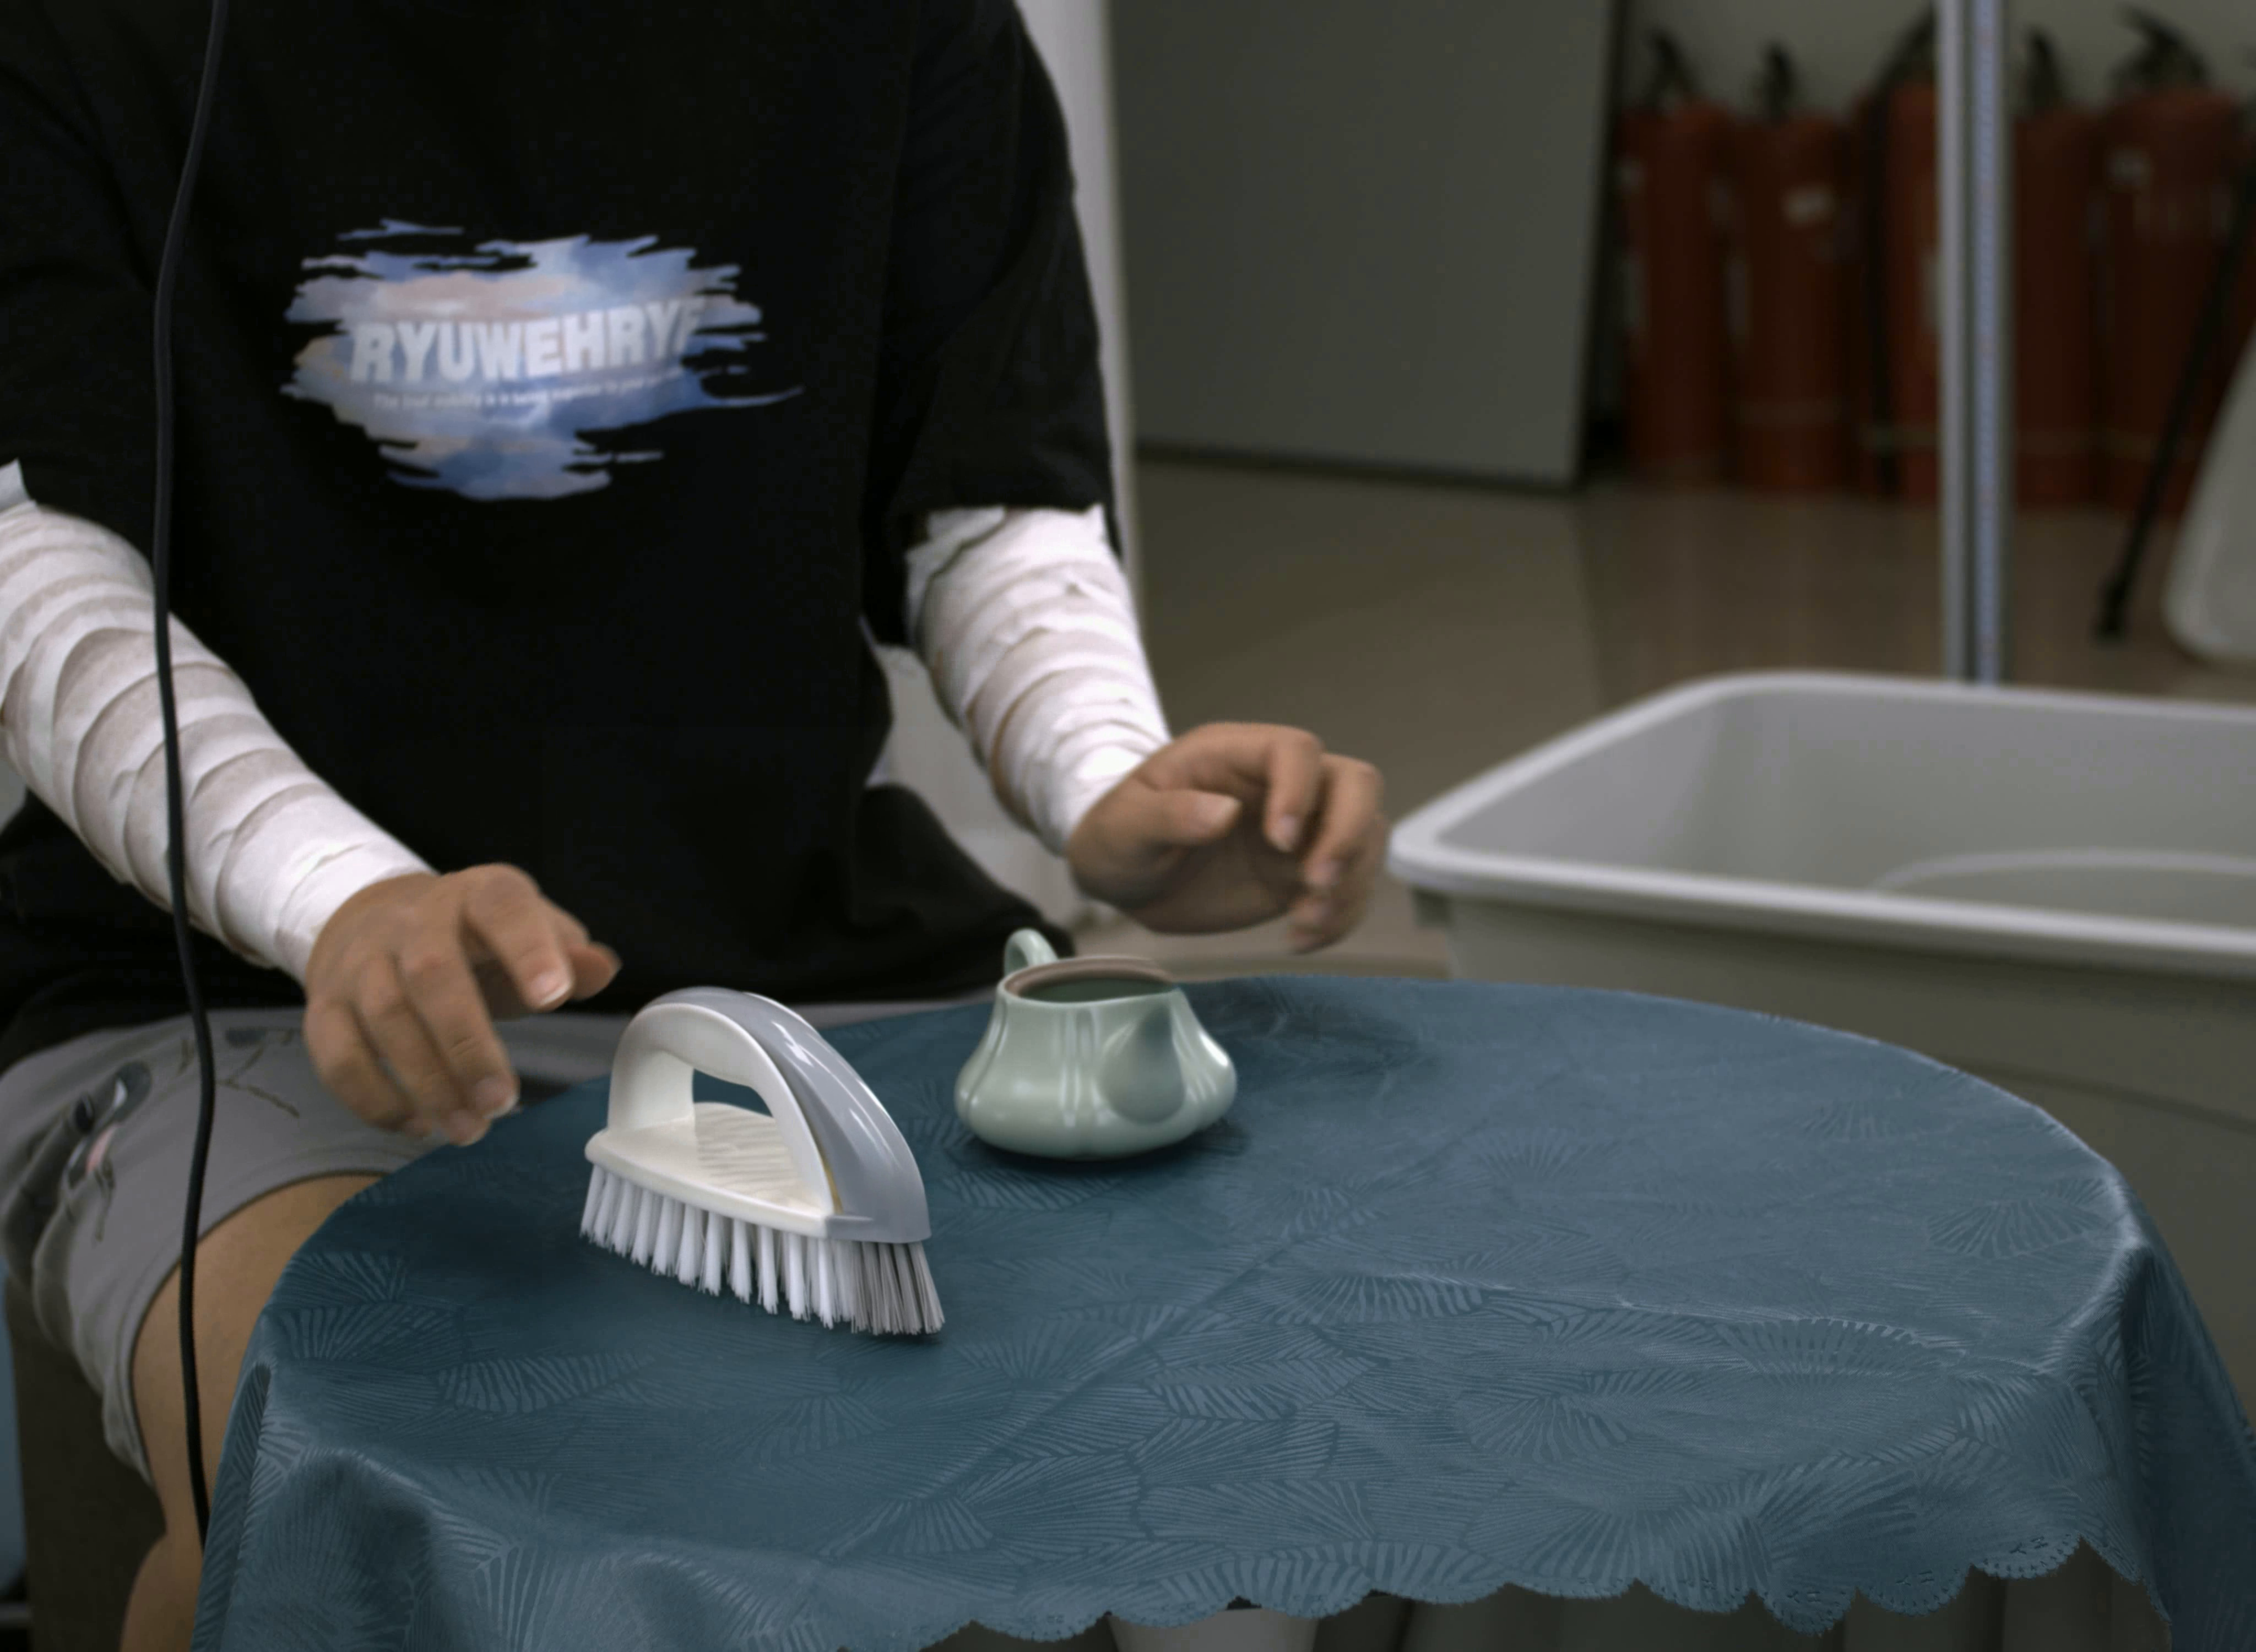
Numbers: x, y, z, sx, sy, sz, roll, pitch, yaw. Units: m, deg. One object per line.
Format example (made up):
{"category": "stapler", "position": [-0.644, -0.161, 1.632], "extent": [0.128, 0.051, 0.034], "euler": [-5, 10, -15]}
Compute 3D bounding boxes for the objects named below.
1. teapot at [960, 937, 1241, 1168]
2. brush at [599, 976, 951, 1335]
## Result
{"category": "teapot", "position": [-0.012, 0.078, 1.828], "extent": [0.094, 0.062, 0.138], "euler": [-12, 15, -23]}
{"category": "brush", "position": [-0.108, 0.100, 1.700], "extent": [0.060, 0.095, 0.177], "euler": [-16, 19, -31]}
